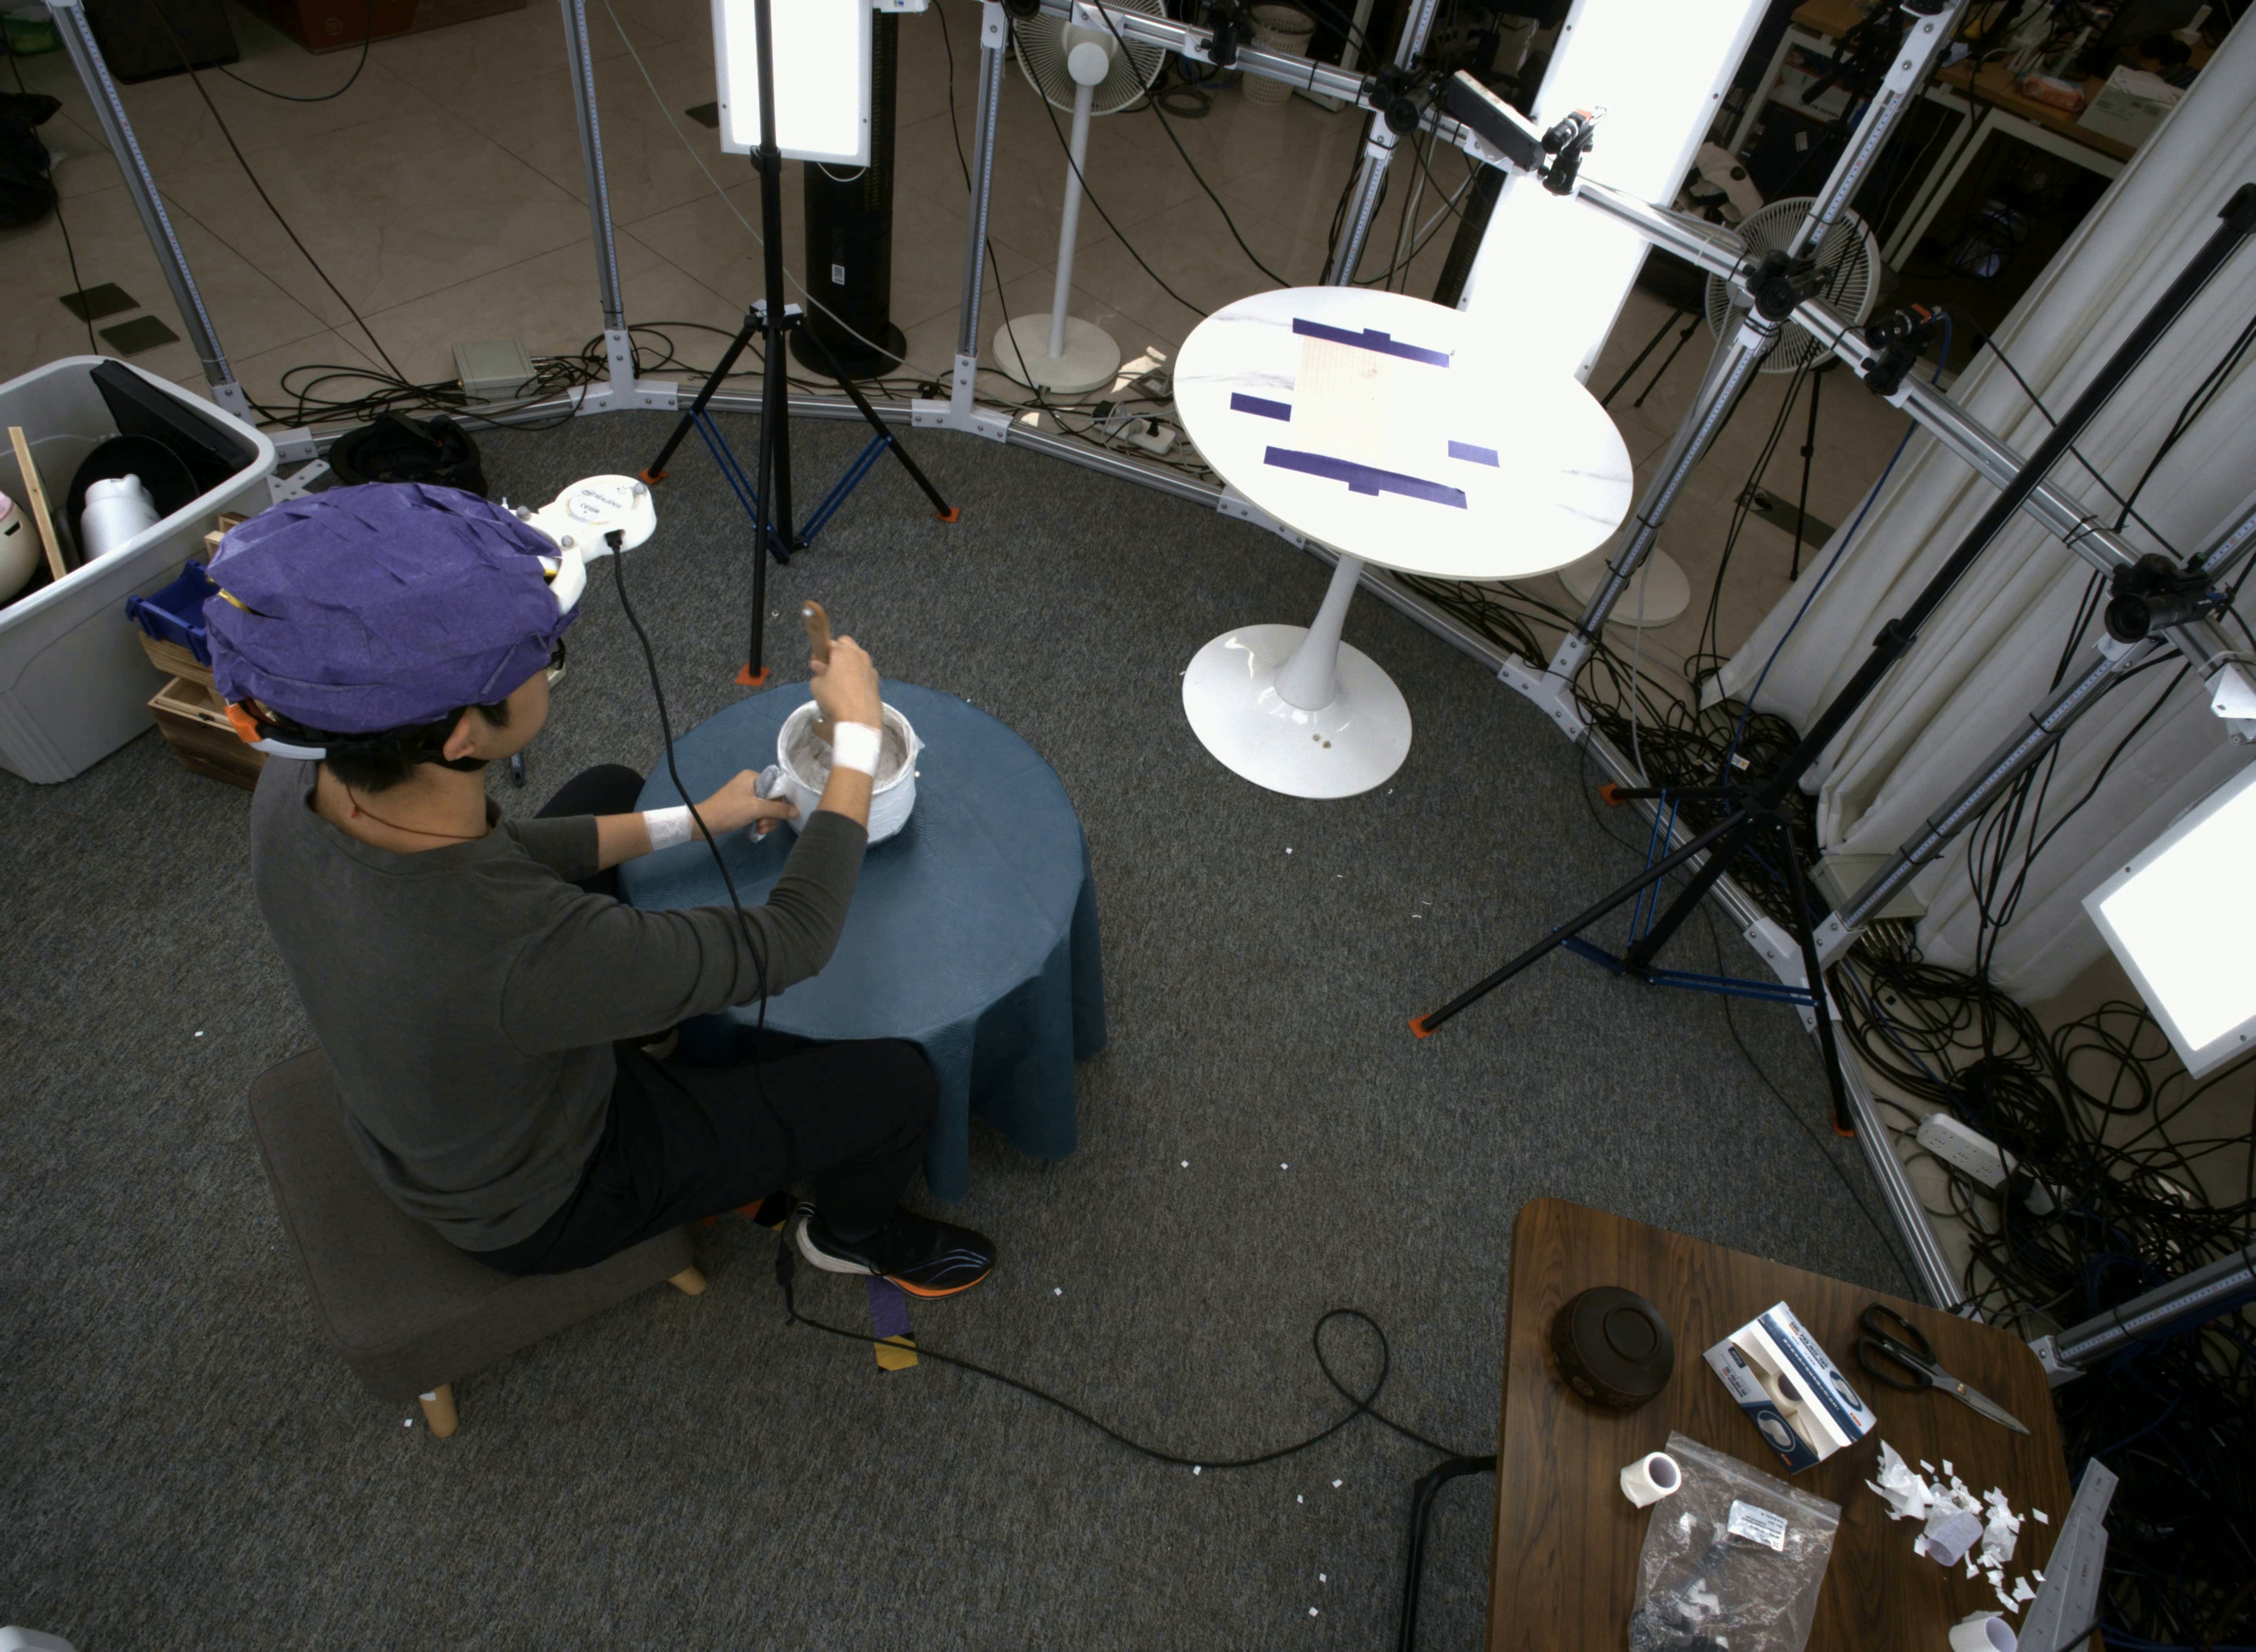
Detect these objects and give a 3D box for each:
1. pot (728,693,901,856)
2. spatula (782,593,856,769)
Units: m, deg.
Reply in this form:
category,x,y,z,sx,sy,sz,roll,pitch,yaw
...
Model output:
category,x,y,z,sx,sy,sz,roll,pitch,yaw
pot,-0.411,-0.054,1.691,0.235,0.139,0.174,-25,62,-28
spatula,-0.380,-0.170,1.547,0.095,0.395,0.018,32,70,7
